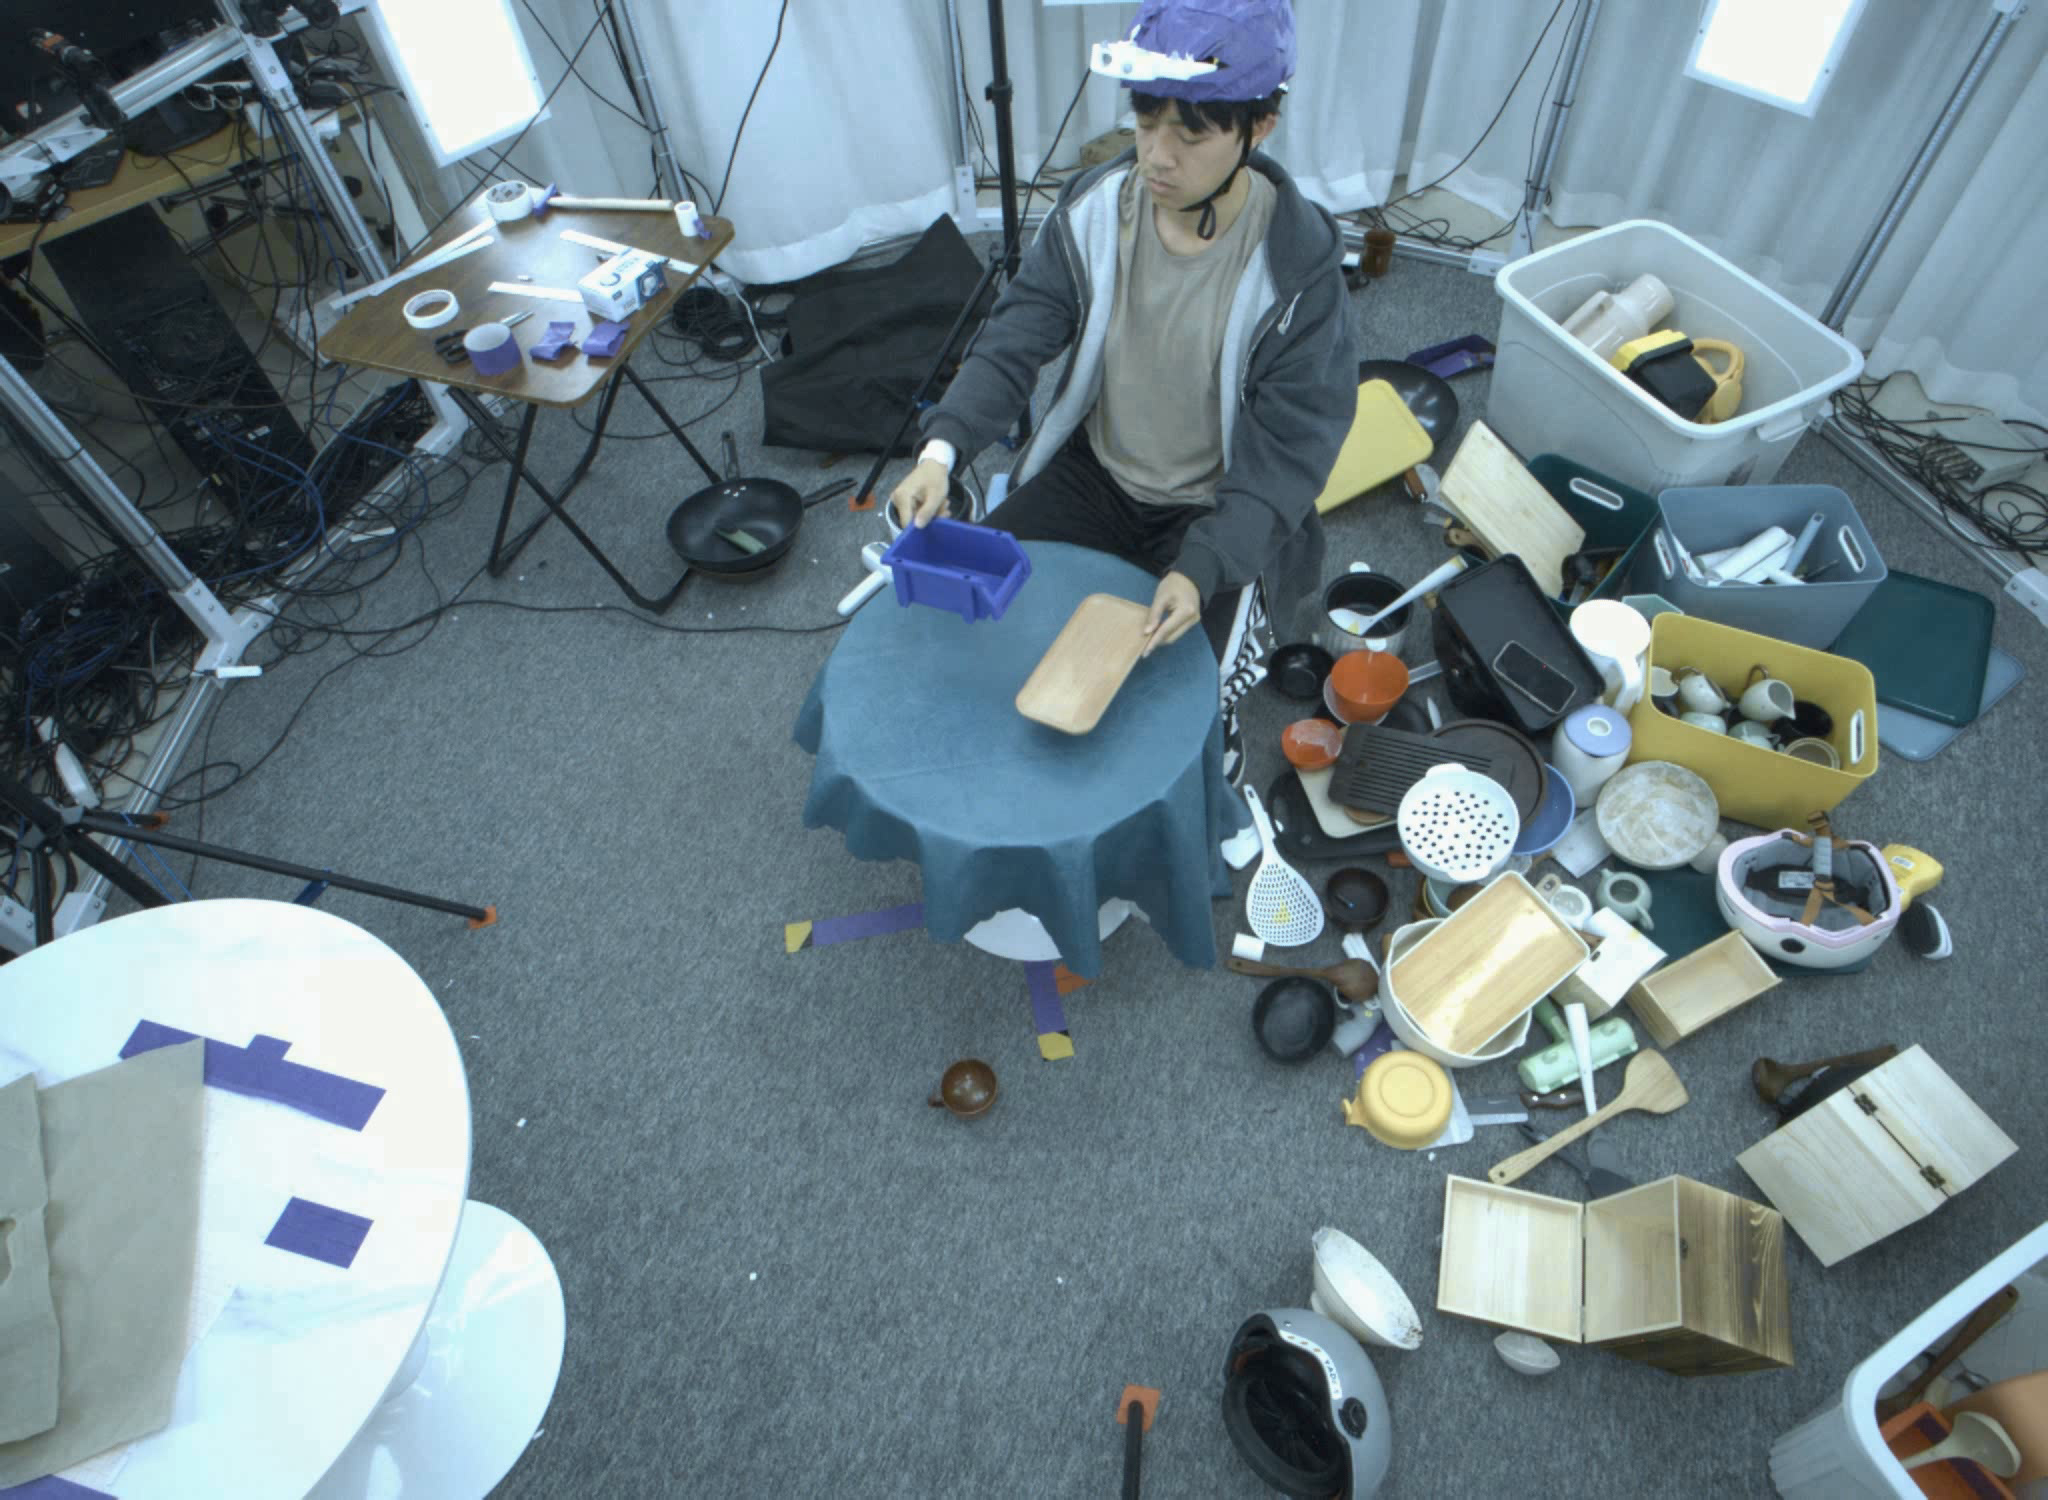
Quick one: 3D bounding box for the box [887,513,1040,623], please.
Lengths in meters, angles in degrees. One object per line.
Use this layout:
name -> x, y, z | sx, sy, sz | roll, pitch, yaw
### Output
box -> -0.084, -0.259, 1.744 | 0.177, 0.083, 0.124 | 15, 49, 19

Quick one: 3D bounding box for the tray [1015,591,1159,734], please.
tray -> 0.093, -0.130, 1.792 | 0.128, 0.023, 0.251 | 24, 61, 19
